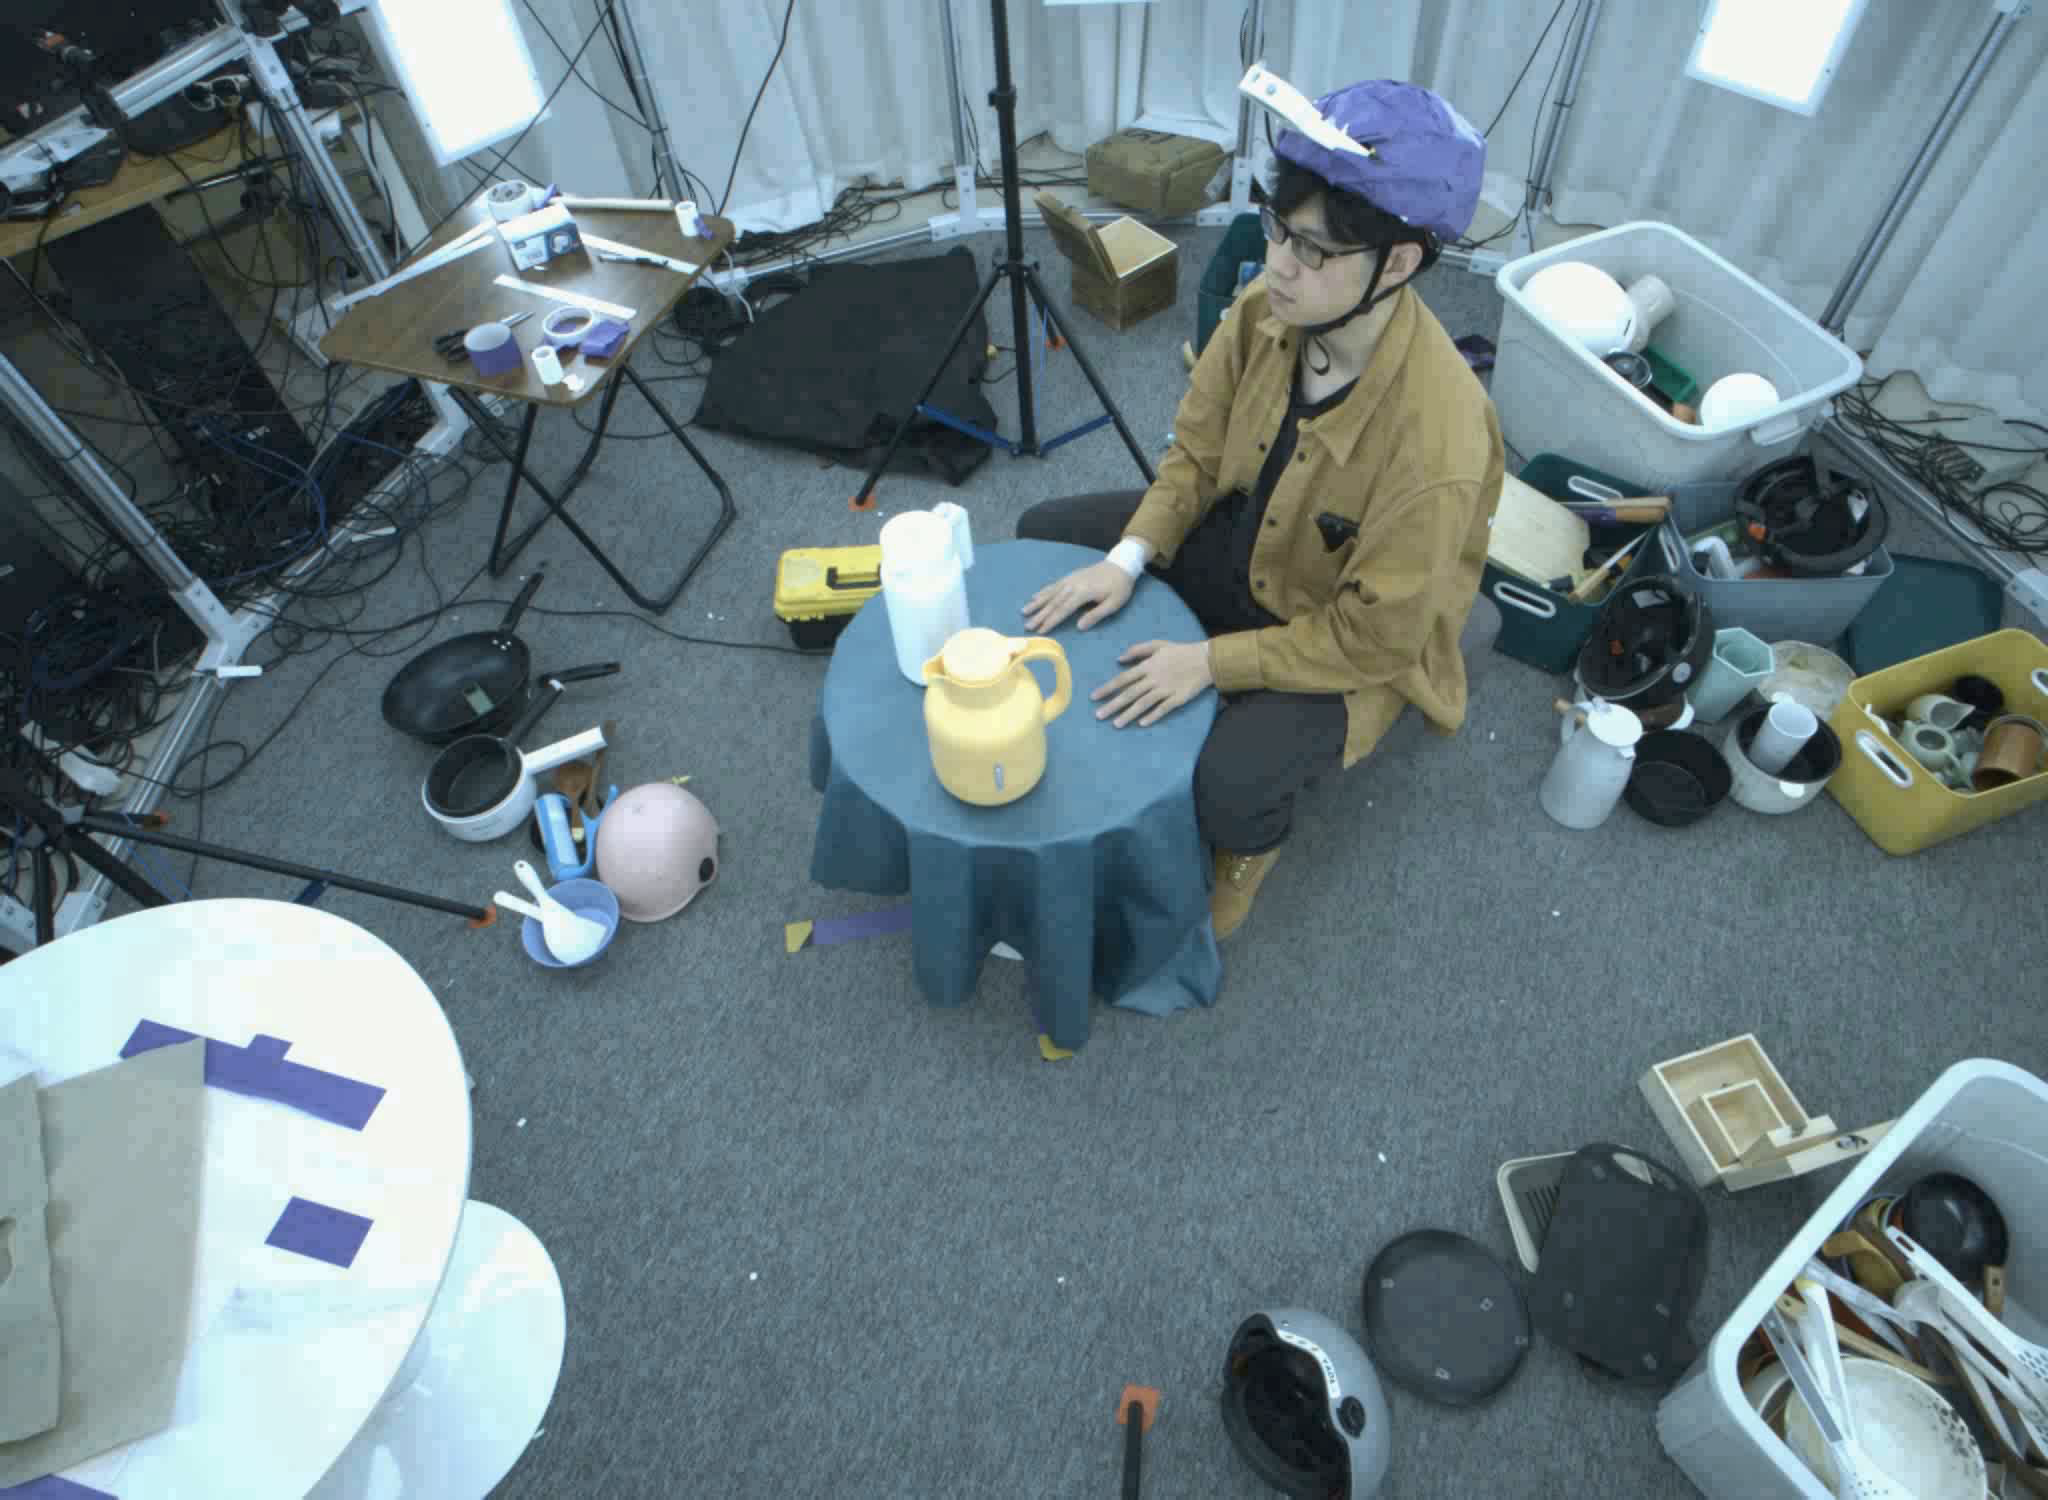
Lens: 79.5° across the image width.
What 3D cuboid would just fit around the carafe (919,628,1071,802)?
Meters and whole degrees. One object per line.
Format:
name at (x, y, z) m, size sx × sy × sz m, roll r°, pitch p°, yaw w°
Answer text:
carafe at (-0.035, -0.056, 1.661) m, size 0.203 × 0.263 × 0.161 m, roll -13°, pitch 57°, yaw -4°

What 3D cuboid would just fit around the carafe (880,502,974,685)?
carafe at (-0.134, -0.230, 1.786) m, size 0.122 × 0.272 × 0.173 m, roll 24°, pitch 59°, yaw 21°
